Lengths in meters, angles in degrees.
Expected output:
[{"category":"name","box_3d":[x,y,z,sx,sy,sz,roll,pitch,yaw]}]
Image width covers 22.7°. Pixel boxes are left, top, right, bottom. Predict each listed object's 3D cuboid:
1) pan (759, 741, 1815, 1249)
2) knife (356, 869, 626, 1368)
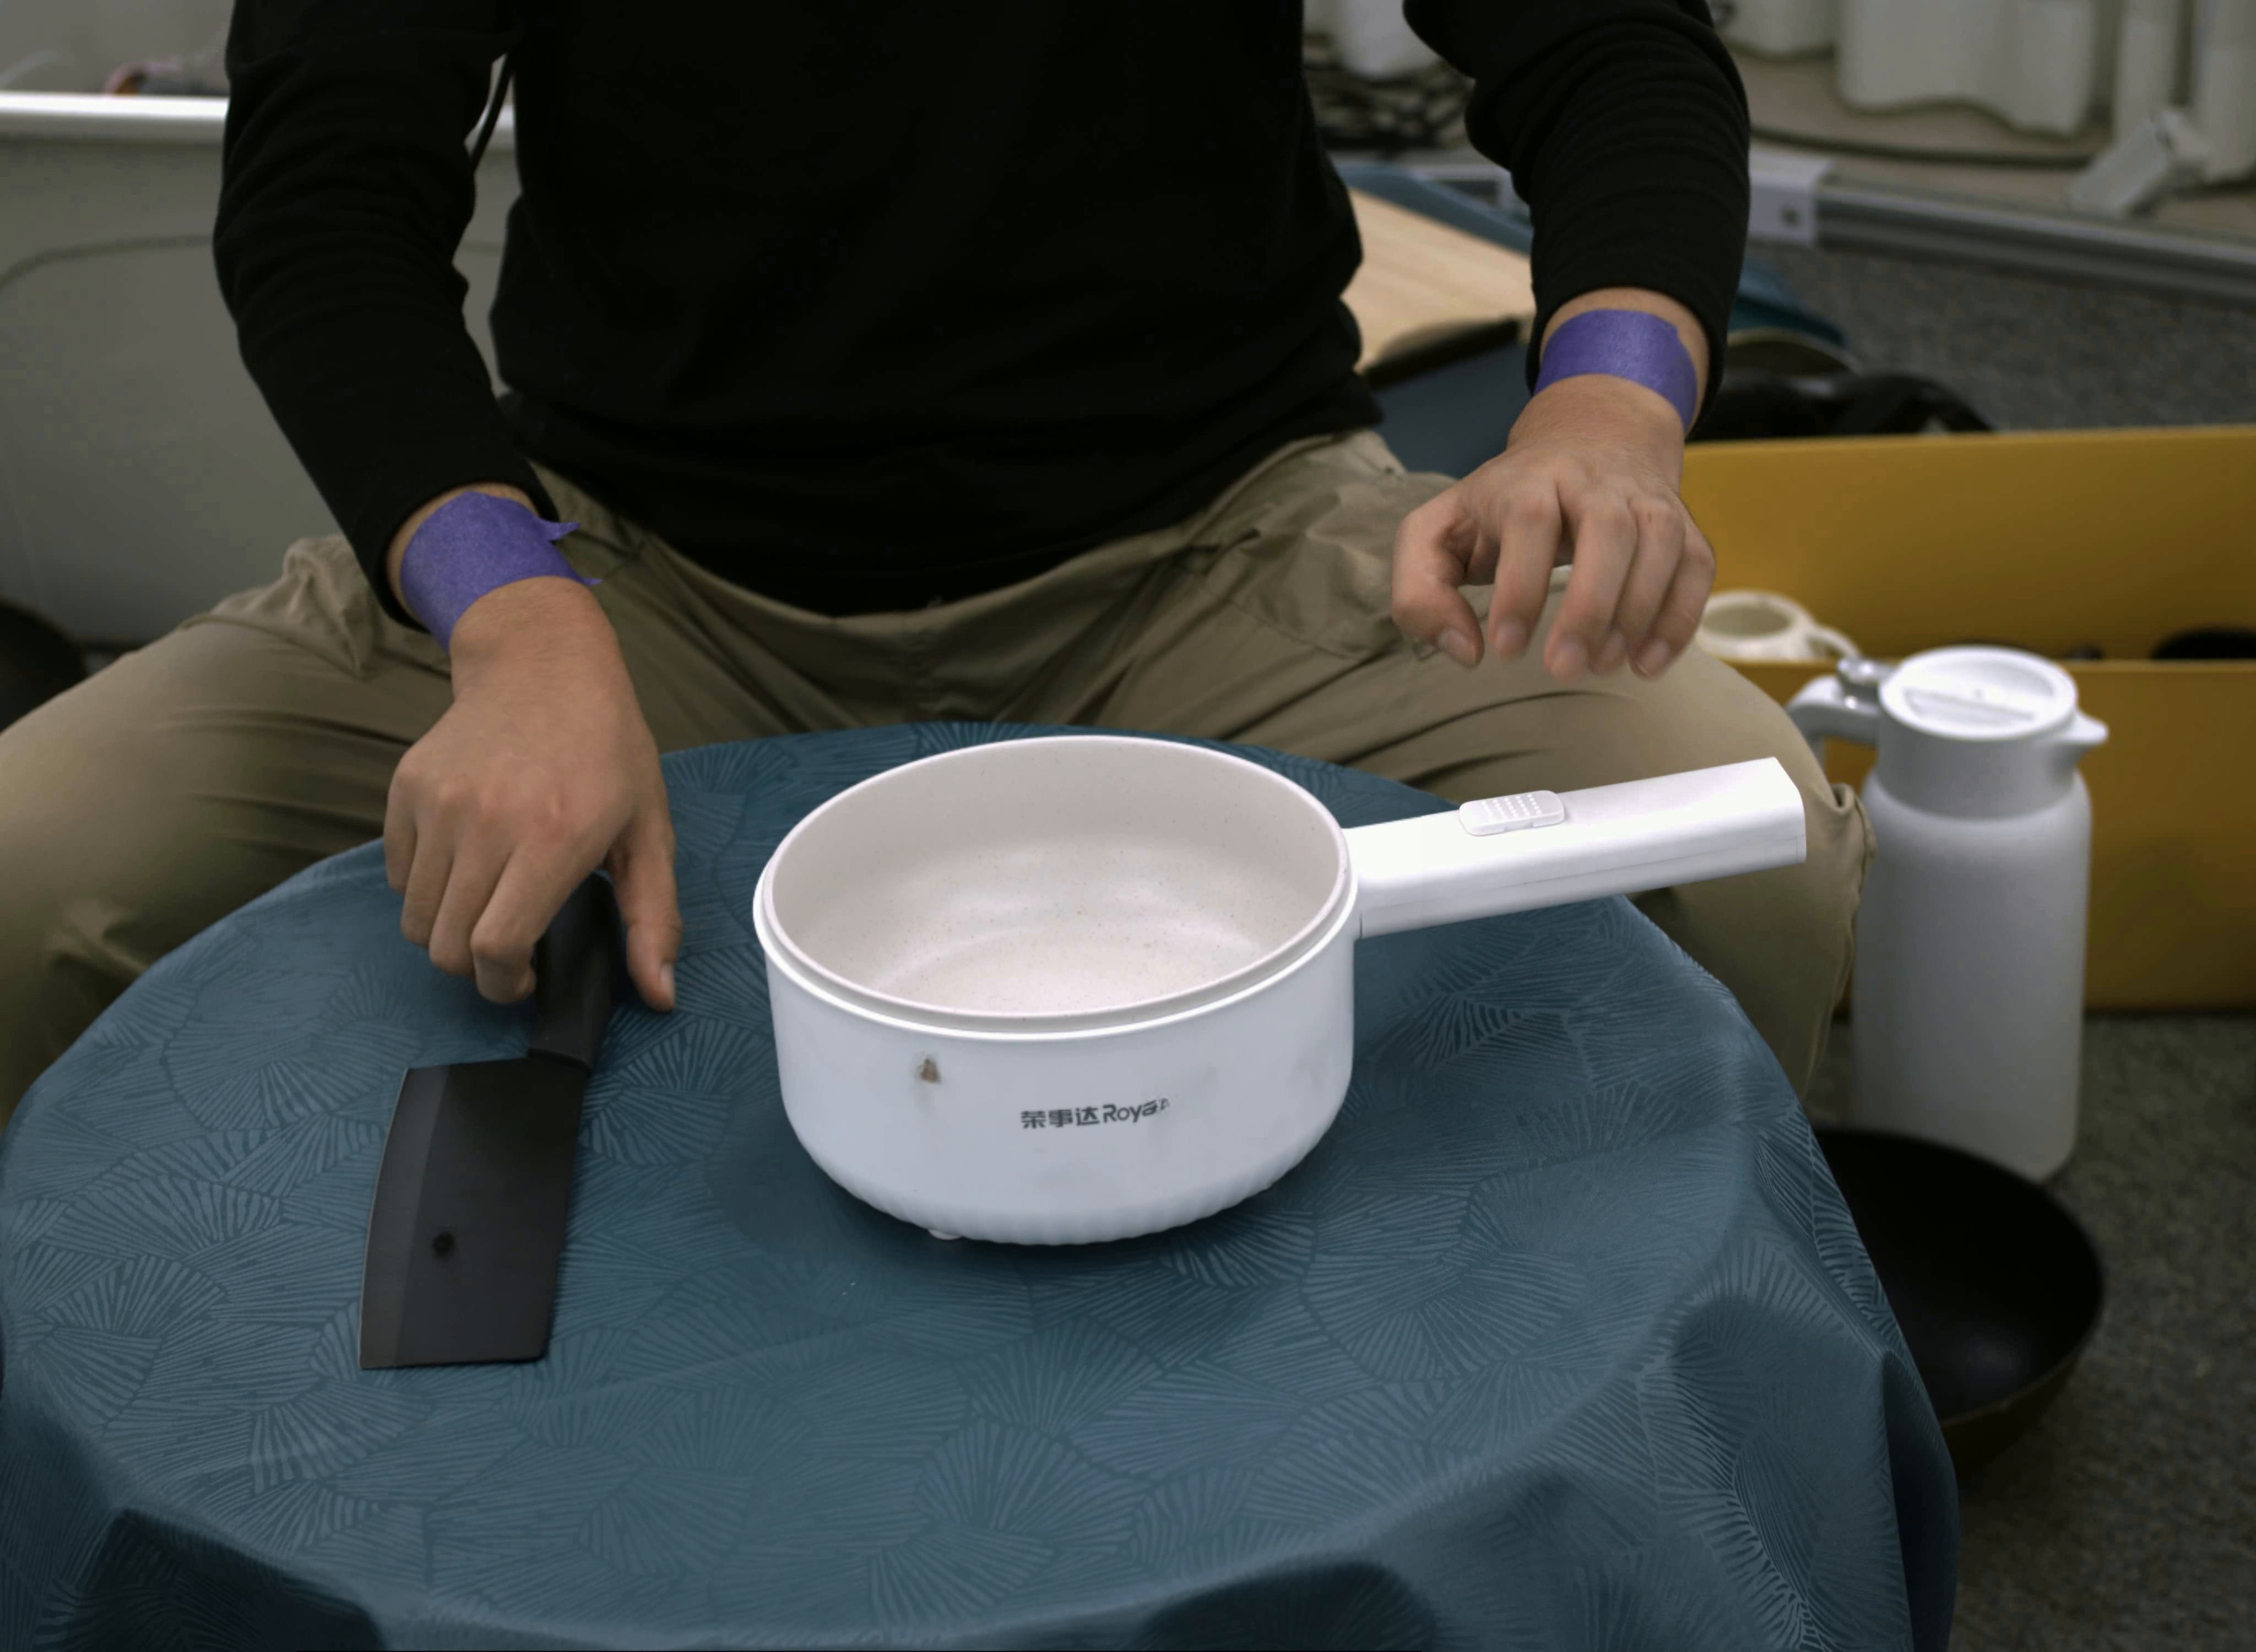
[{"category":"pan","box_3d":[0.054,0.051,1.889,0.354,0.101,0.203,-7,27,-10]},{"category":"knife","box_3d":[-0.212,0.097,1.912,0.080,0.020,0.307,-1,29,6]}]
